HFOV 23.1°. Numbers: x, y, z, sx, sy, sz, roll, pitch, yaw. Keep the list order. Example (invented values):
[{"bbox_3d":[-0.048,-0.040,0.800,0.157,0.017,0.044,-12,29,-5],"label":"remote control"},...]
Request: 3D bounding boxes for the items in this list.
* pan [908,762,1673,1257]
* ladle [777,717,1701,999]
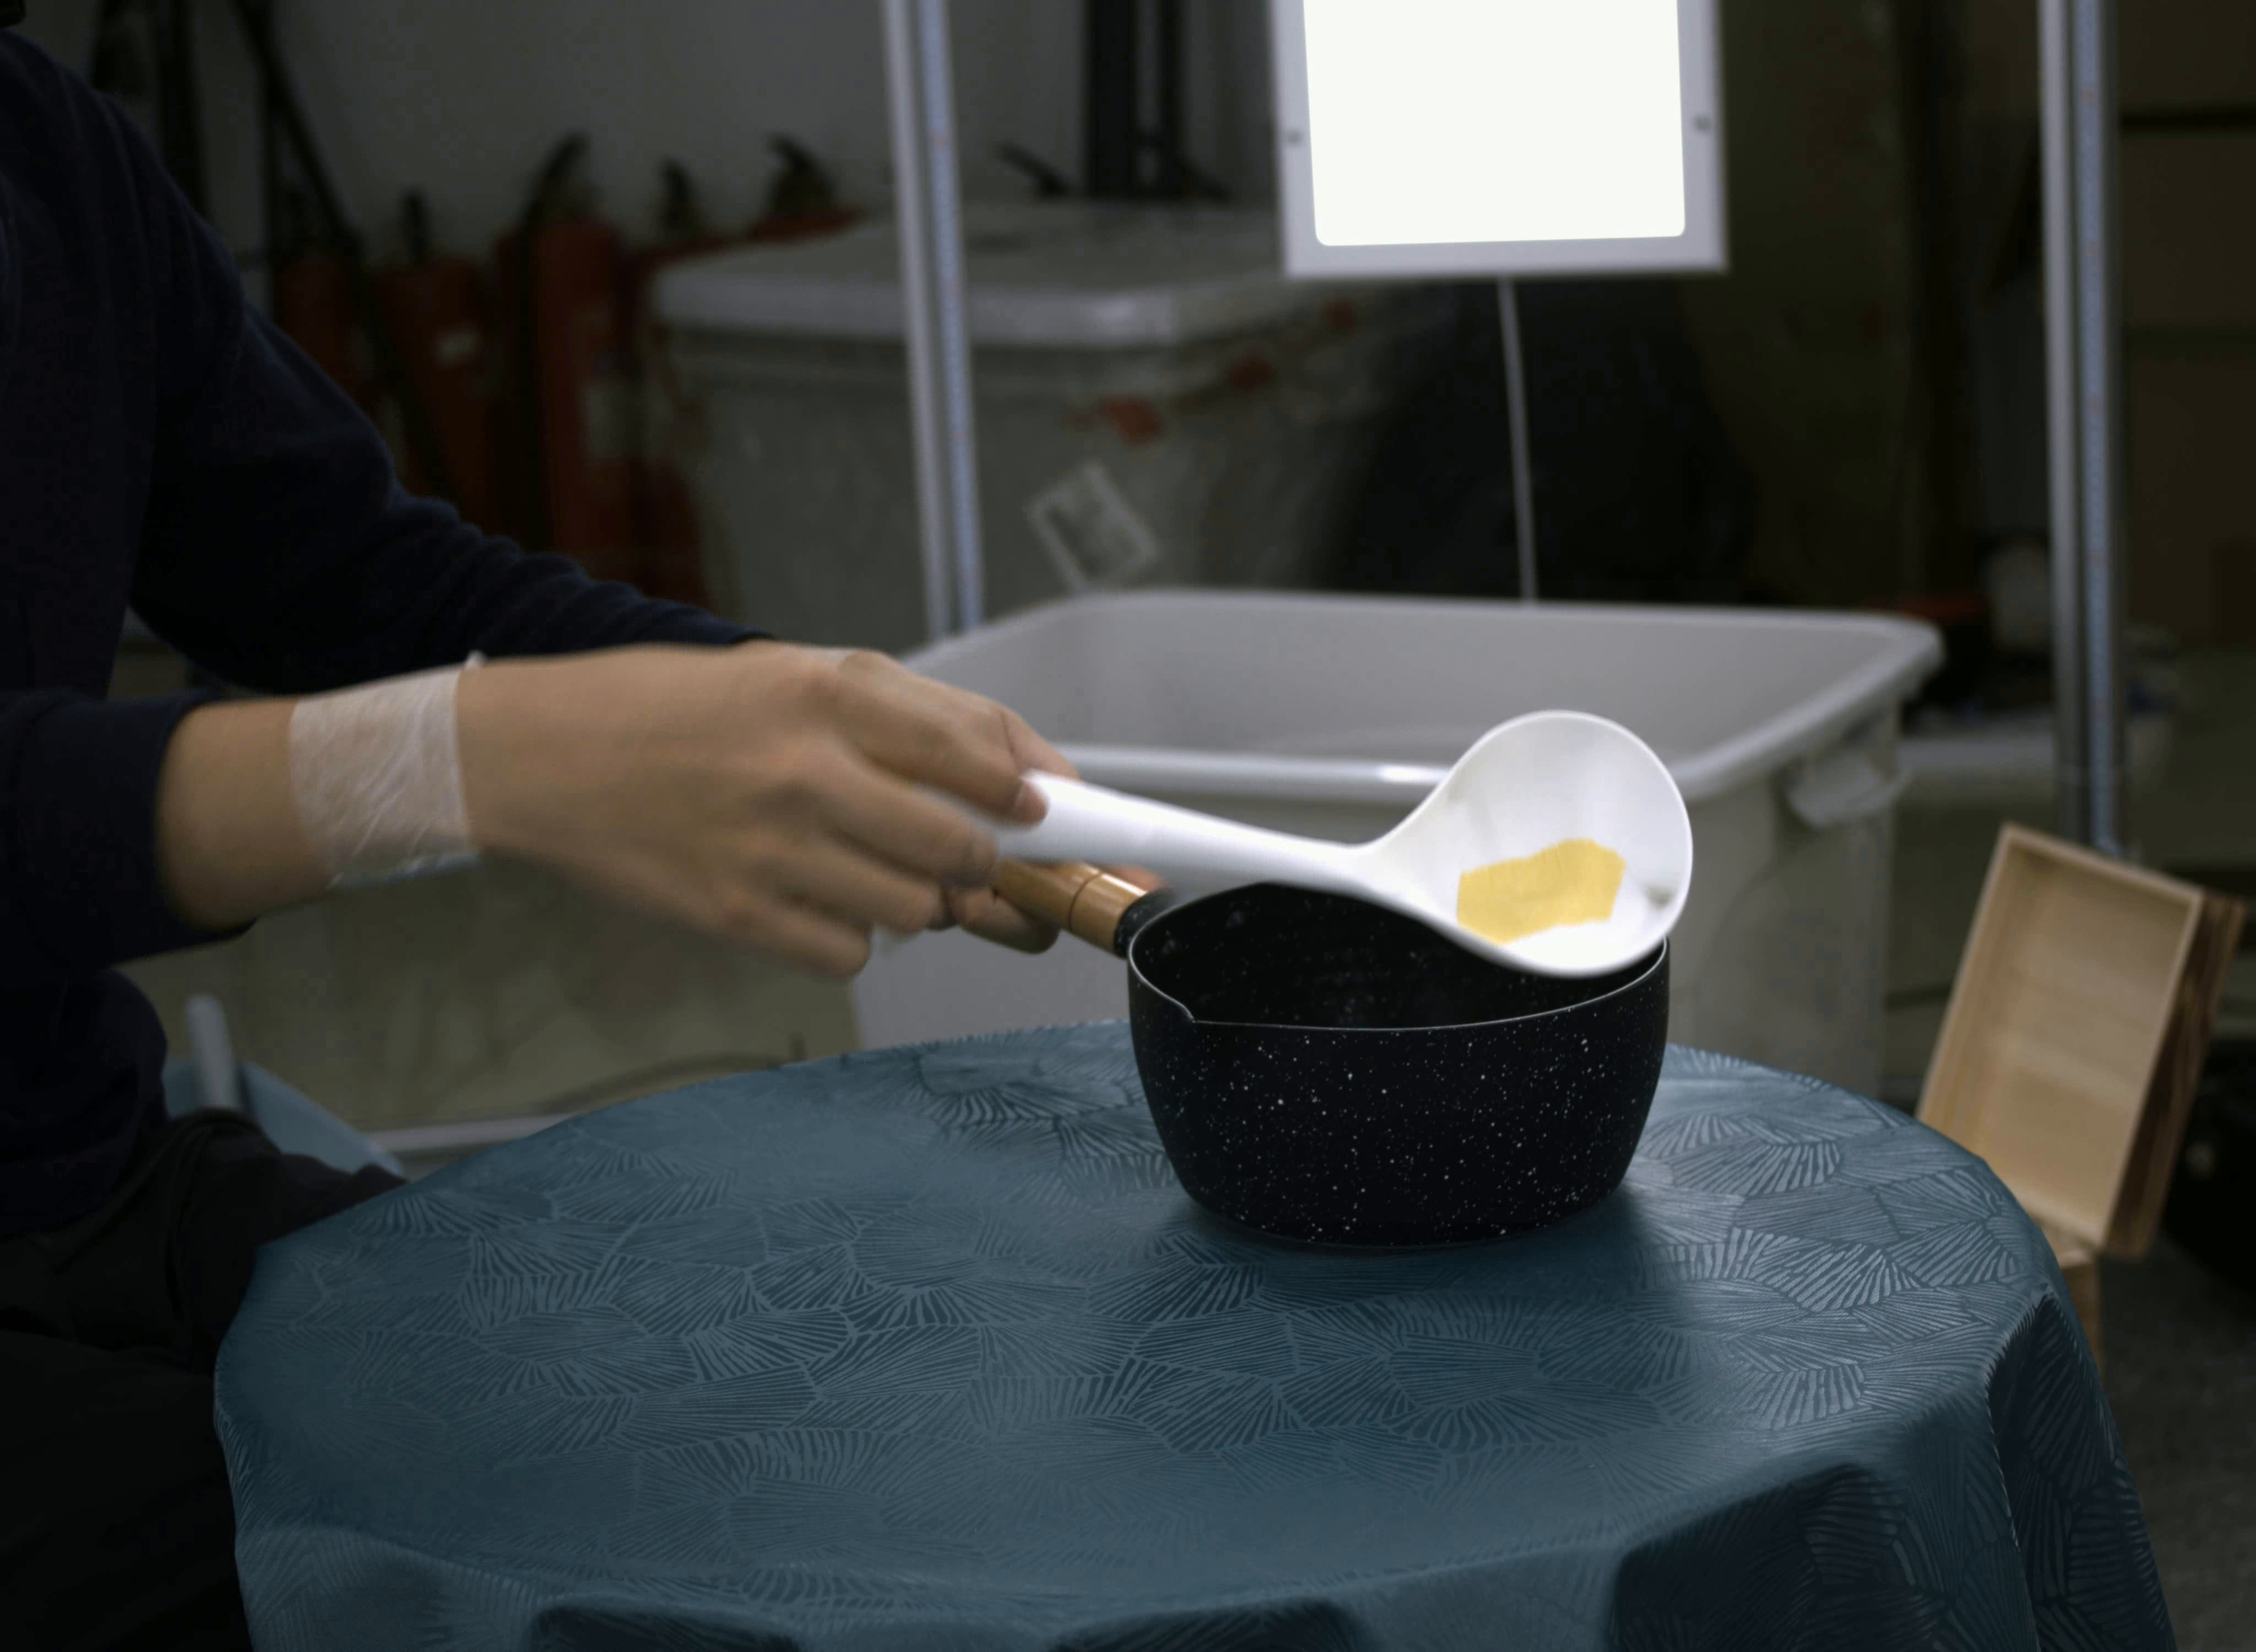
[{"bbox_3d":[0.032,0.056,1.912,0.350,0.109,0.202,13,23,40],"label":"pan"},{"bbox_3d":[0.038,-0.002,1.615,0.286,0.090,0.071,10,-27,-33],"label":"ladle"}]
